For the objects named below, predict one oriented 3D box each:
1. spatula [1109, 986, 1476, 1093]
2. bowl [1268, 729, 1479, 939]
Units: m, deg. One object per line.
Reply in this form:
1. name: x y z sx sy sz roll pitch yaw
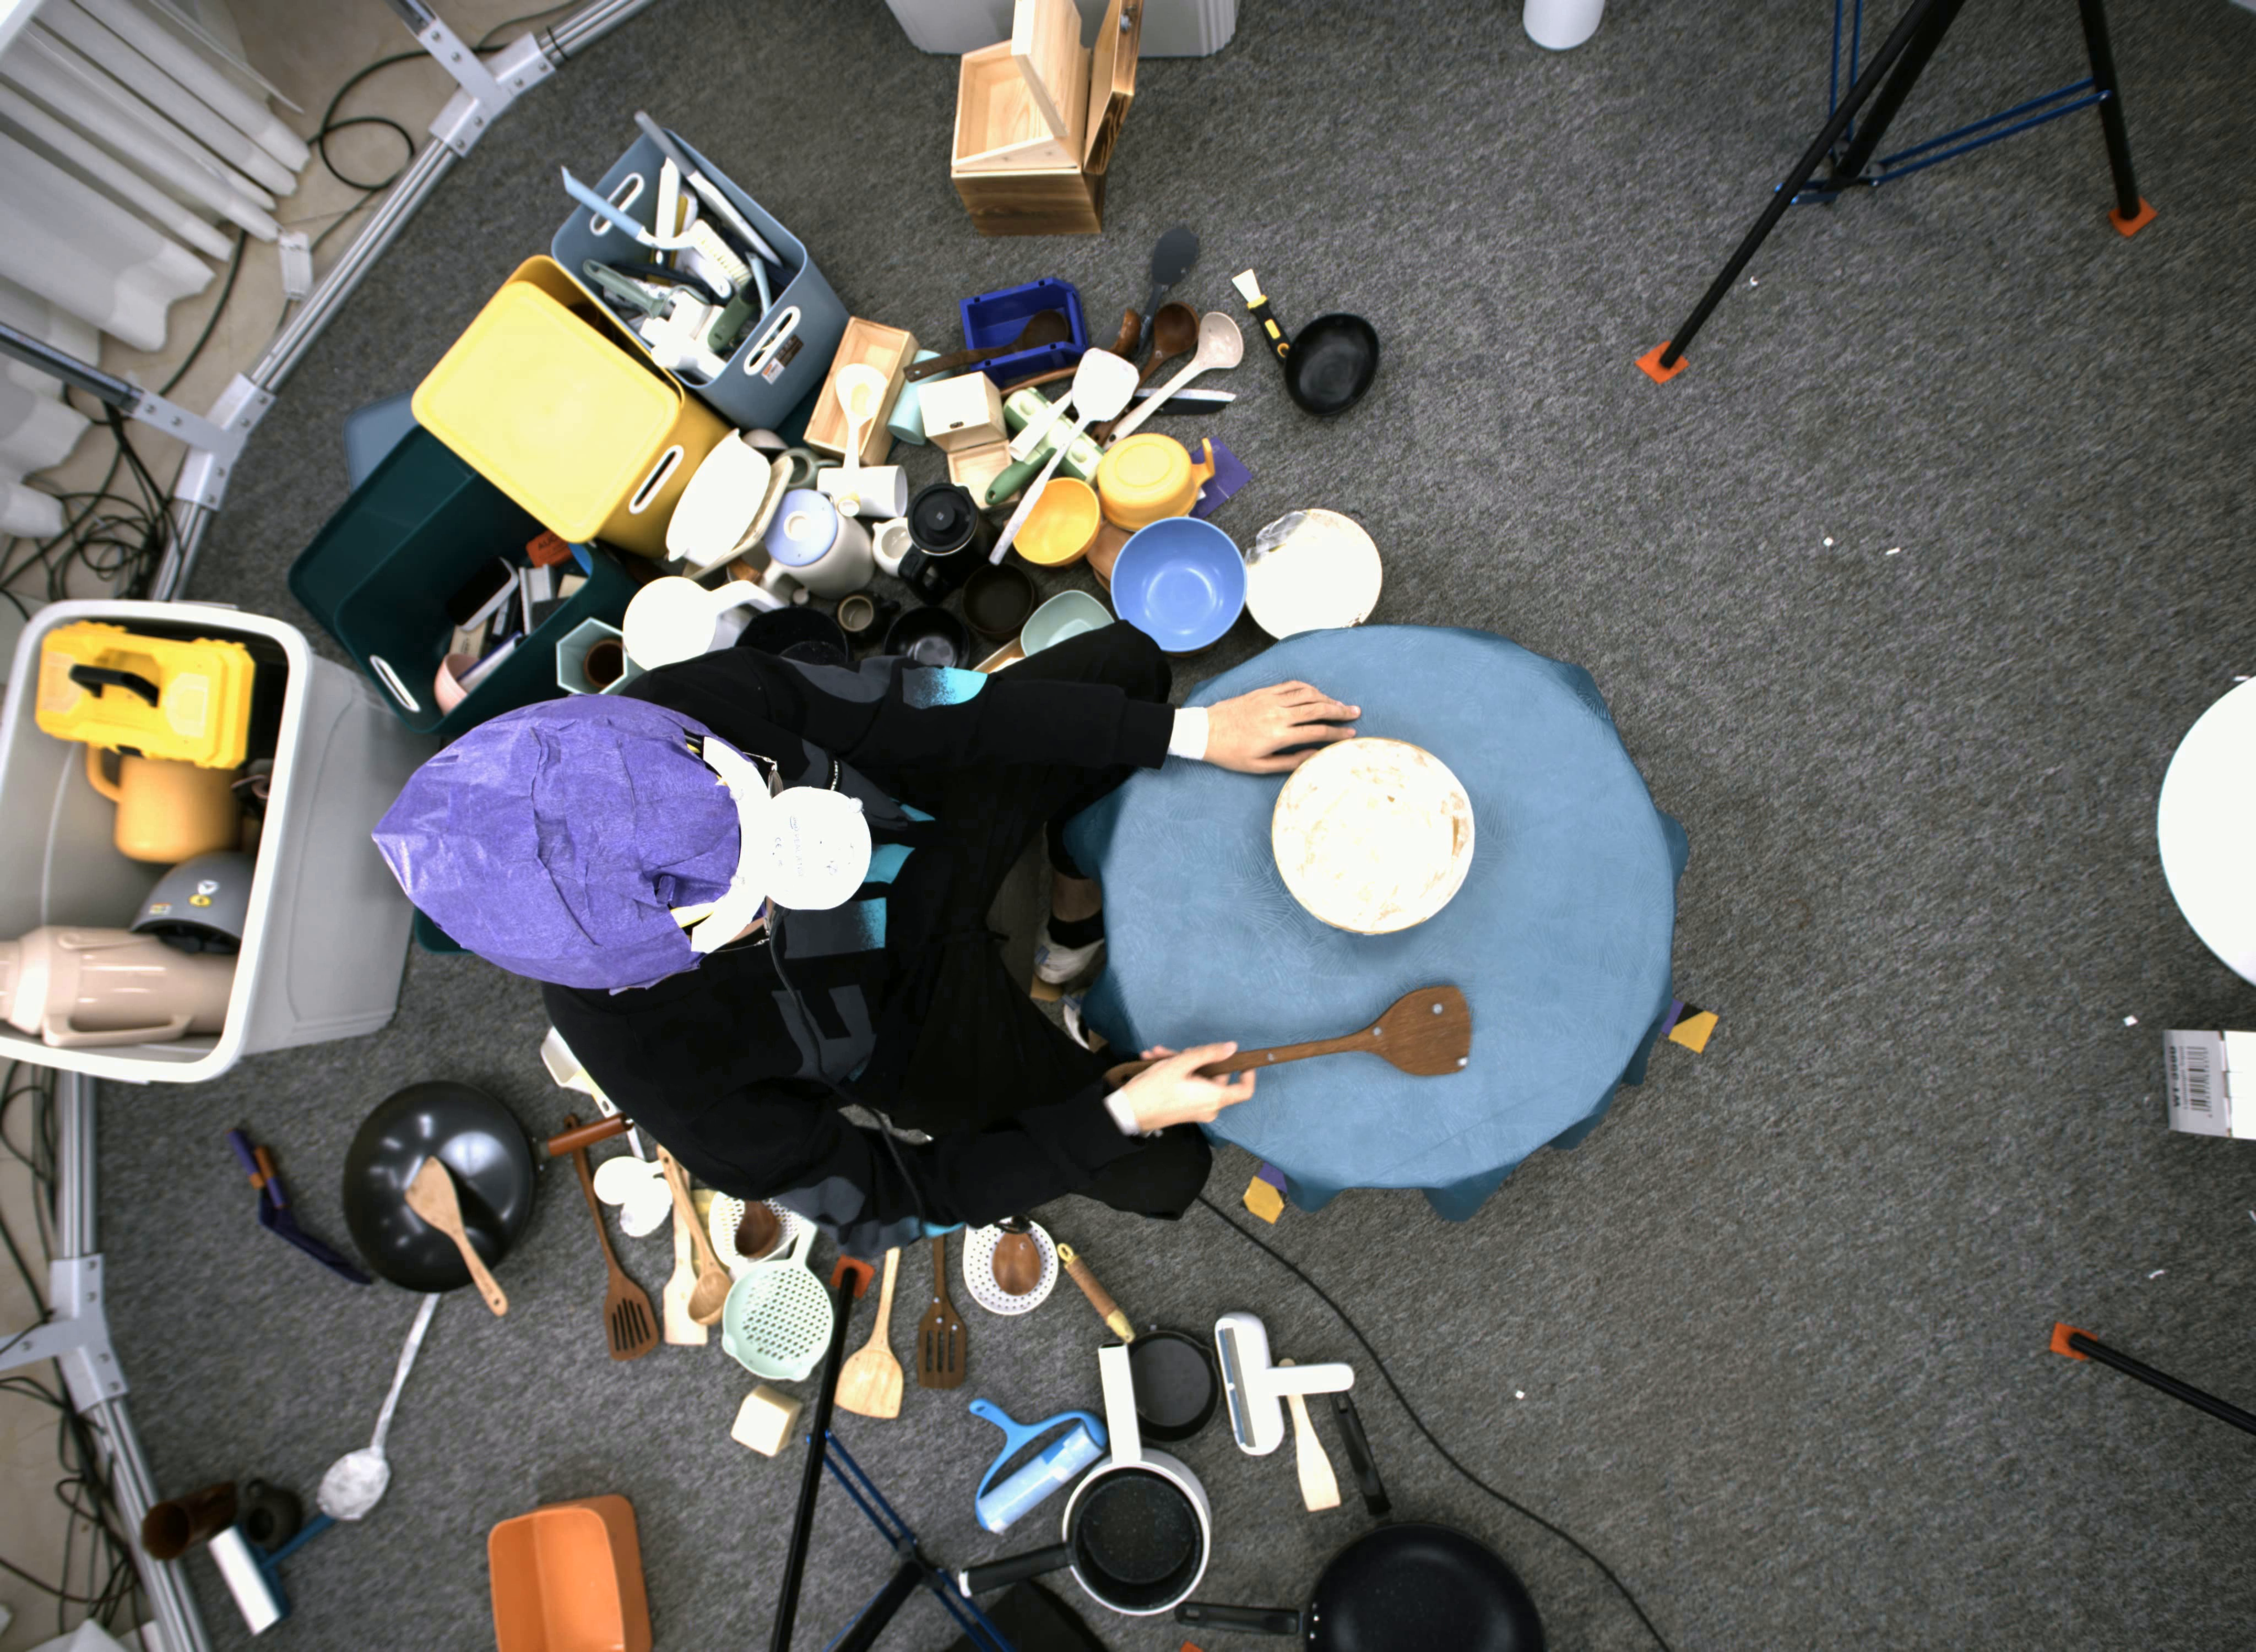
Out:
1. spatula: 0.172 0.230 1.411 0.385 0.016 0.096 -7 97 -8
2. bowl: 0.252 0.011 1.424 0.215 0.094 0.214 -1 87 11
